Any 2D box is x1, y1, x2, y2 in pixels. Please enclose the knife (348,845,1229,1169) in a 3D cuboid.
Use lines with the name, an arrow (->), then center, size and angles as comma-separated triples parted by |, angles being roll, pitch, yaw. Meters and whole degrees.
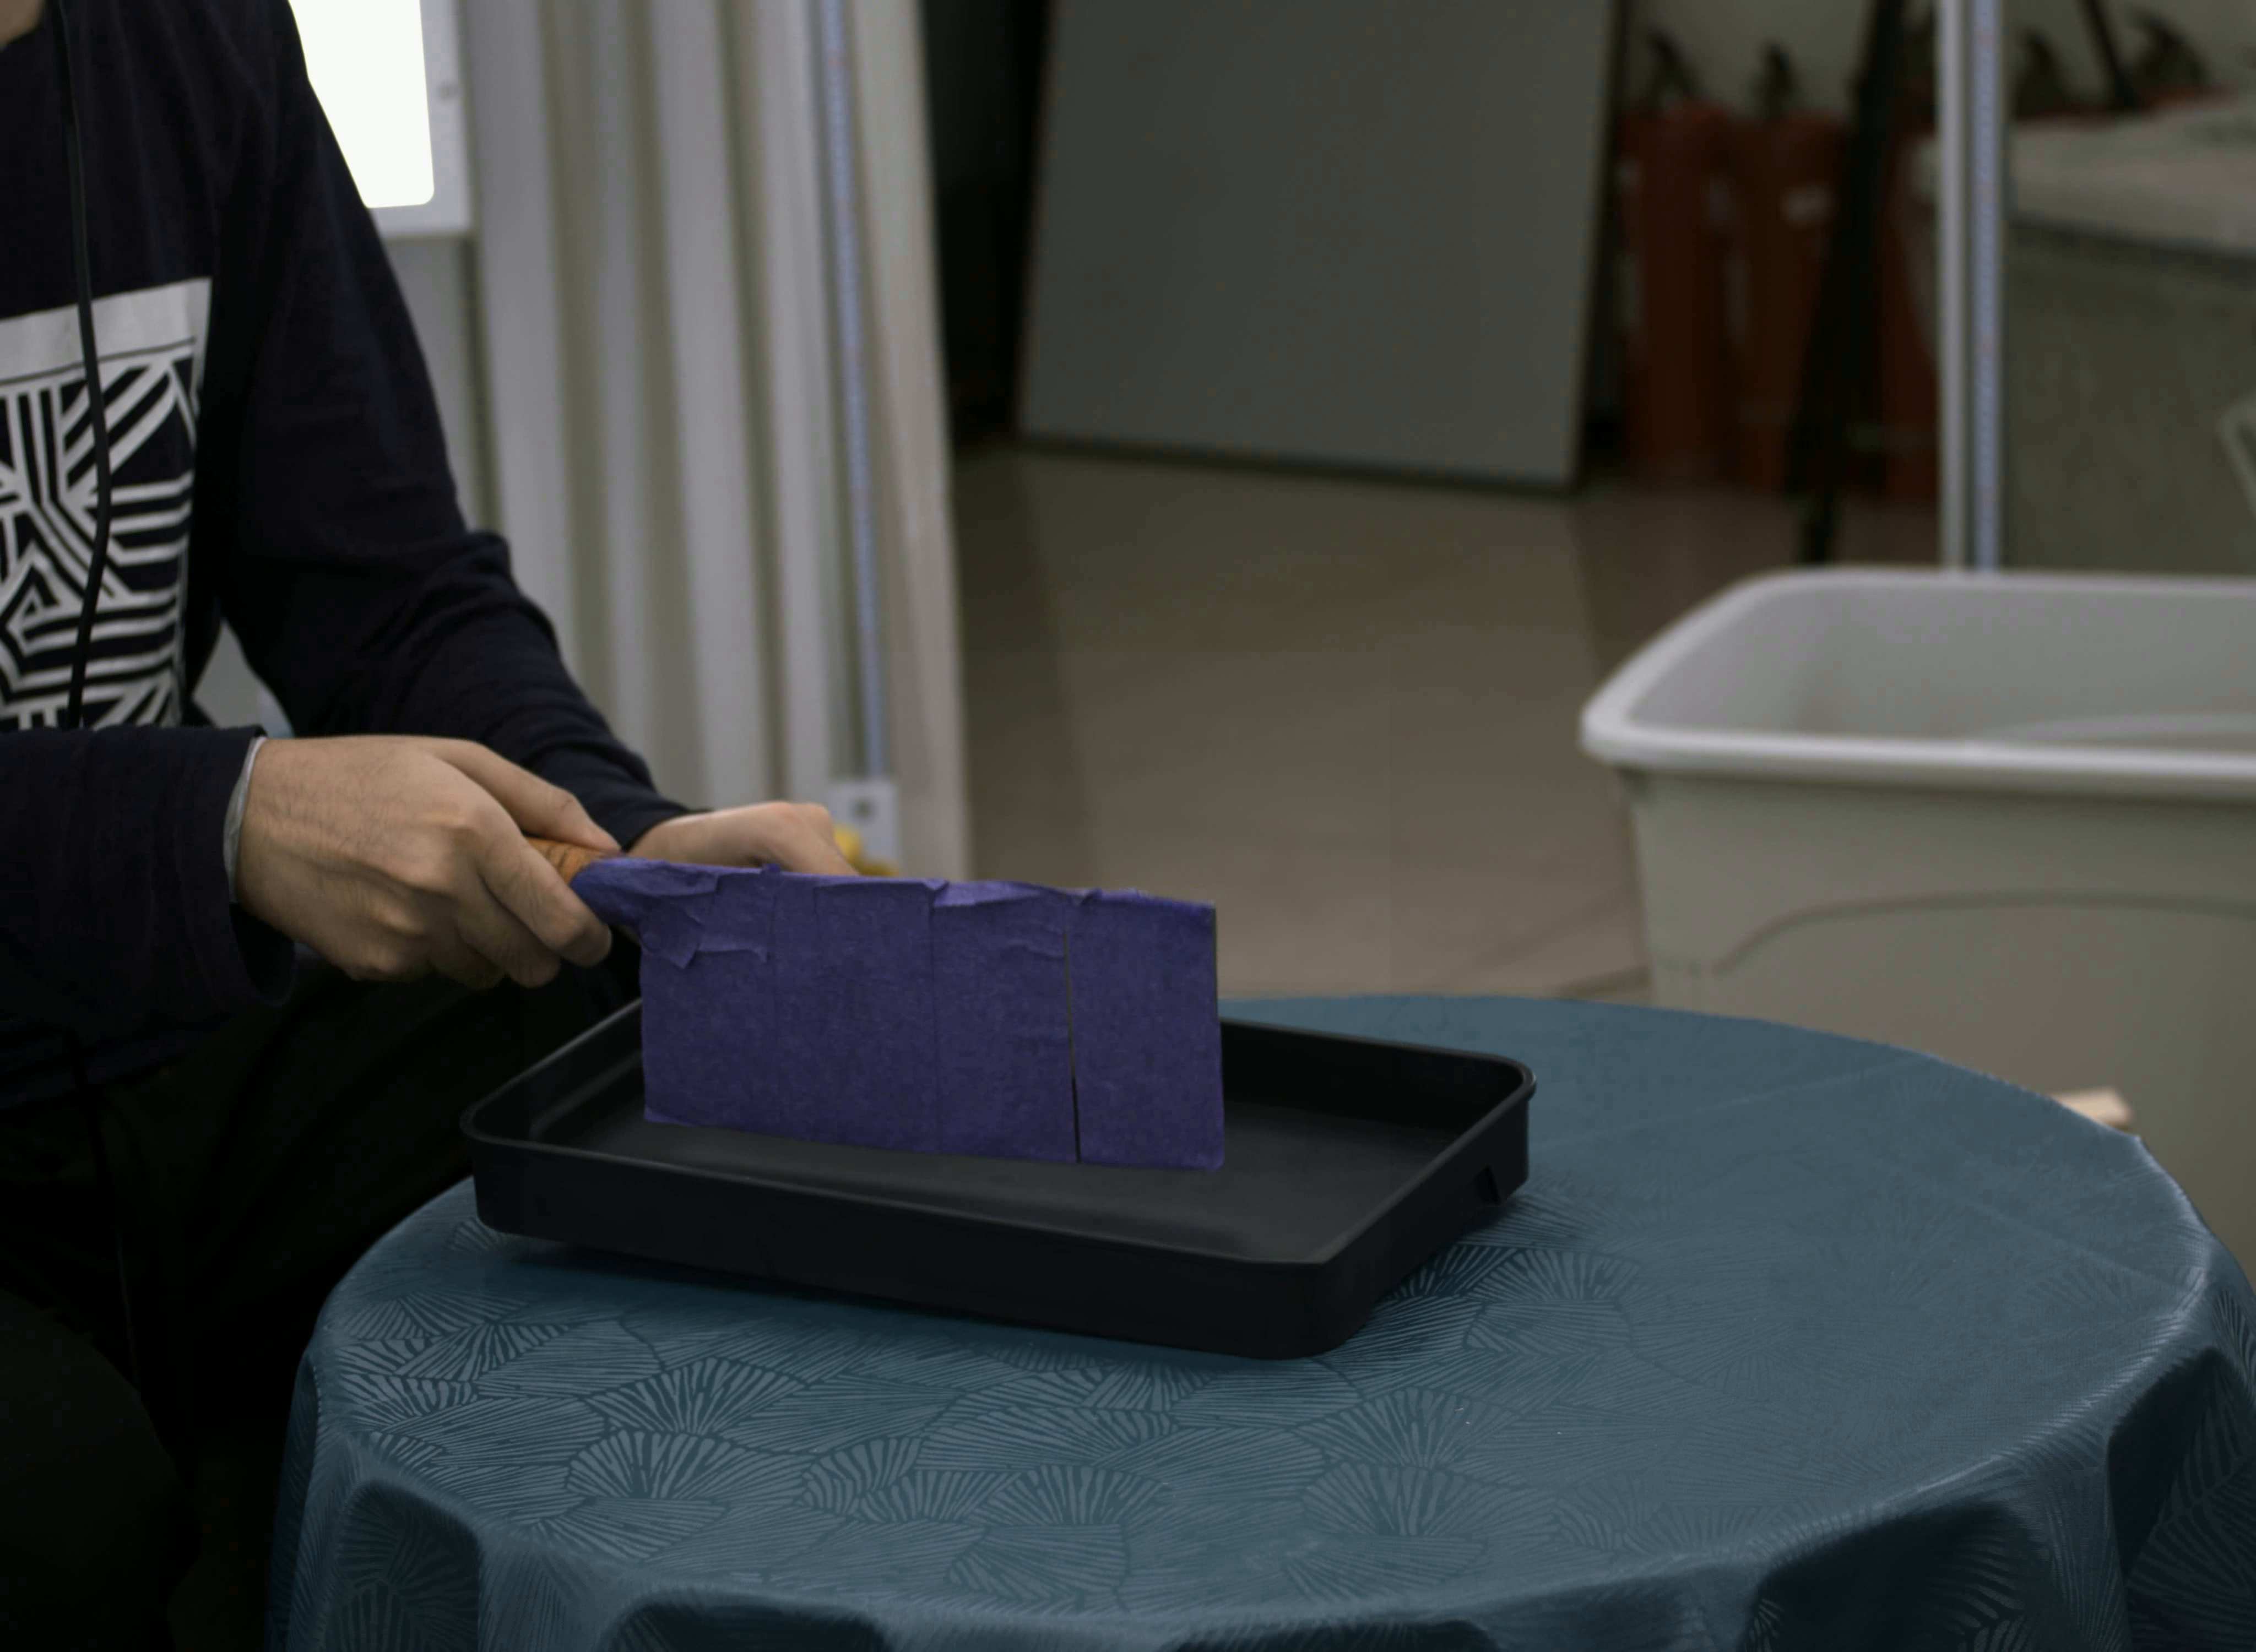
knife -> -0.113, 0.056, 1.748 | 0.316, 0.105, 0.032 | 2, 9, 27

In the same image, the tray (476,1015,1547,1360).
tray -> -0.036, 0.105, 1.737 | 0.319, 0.037, 0.182 | 4, 20, 28
